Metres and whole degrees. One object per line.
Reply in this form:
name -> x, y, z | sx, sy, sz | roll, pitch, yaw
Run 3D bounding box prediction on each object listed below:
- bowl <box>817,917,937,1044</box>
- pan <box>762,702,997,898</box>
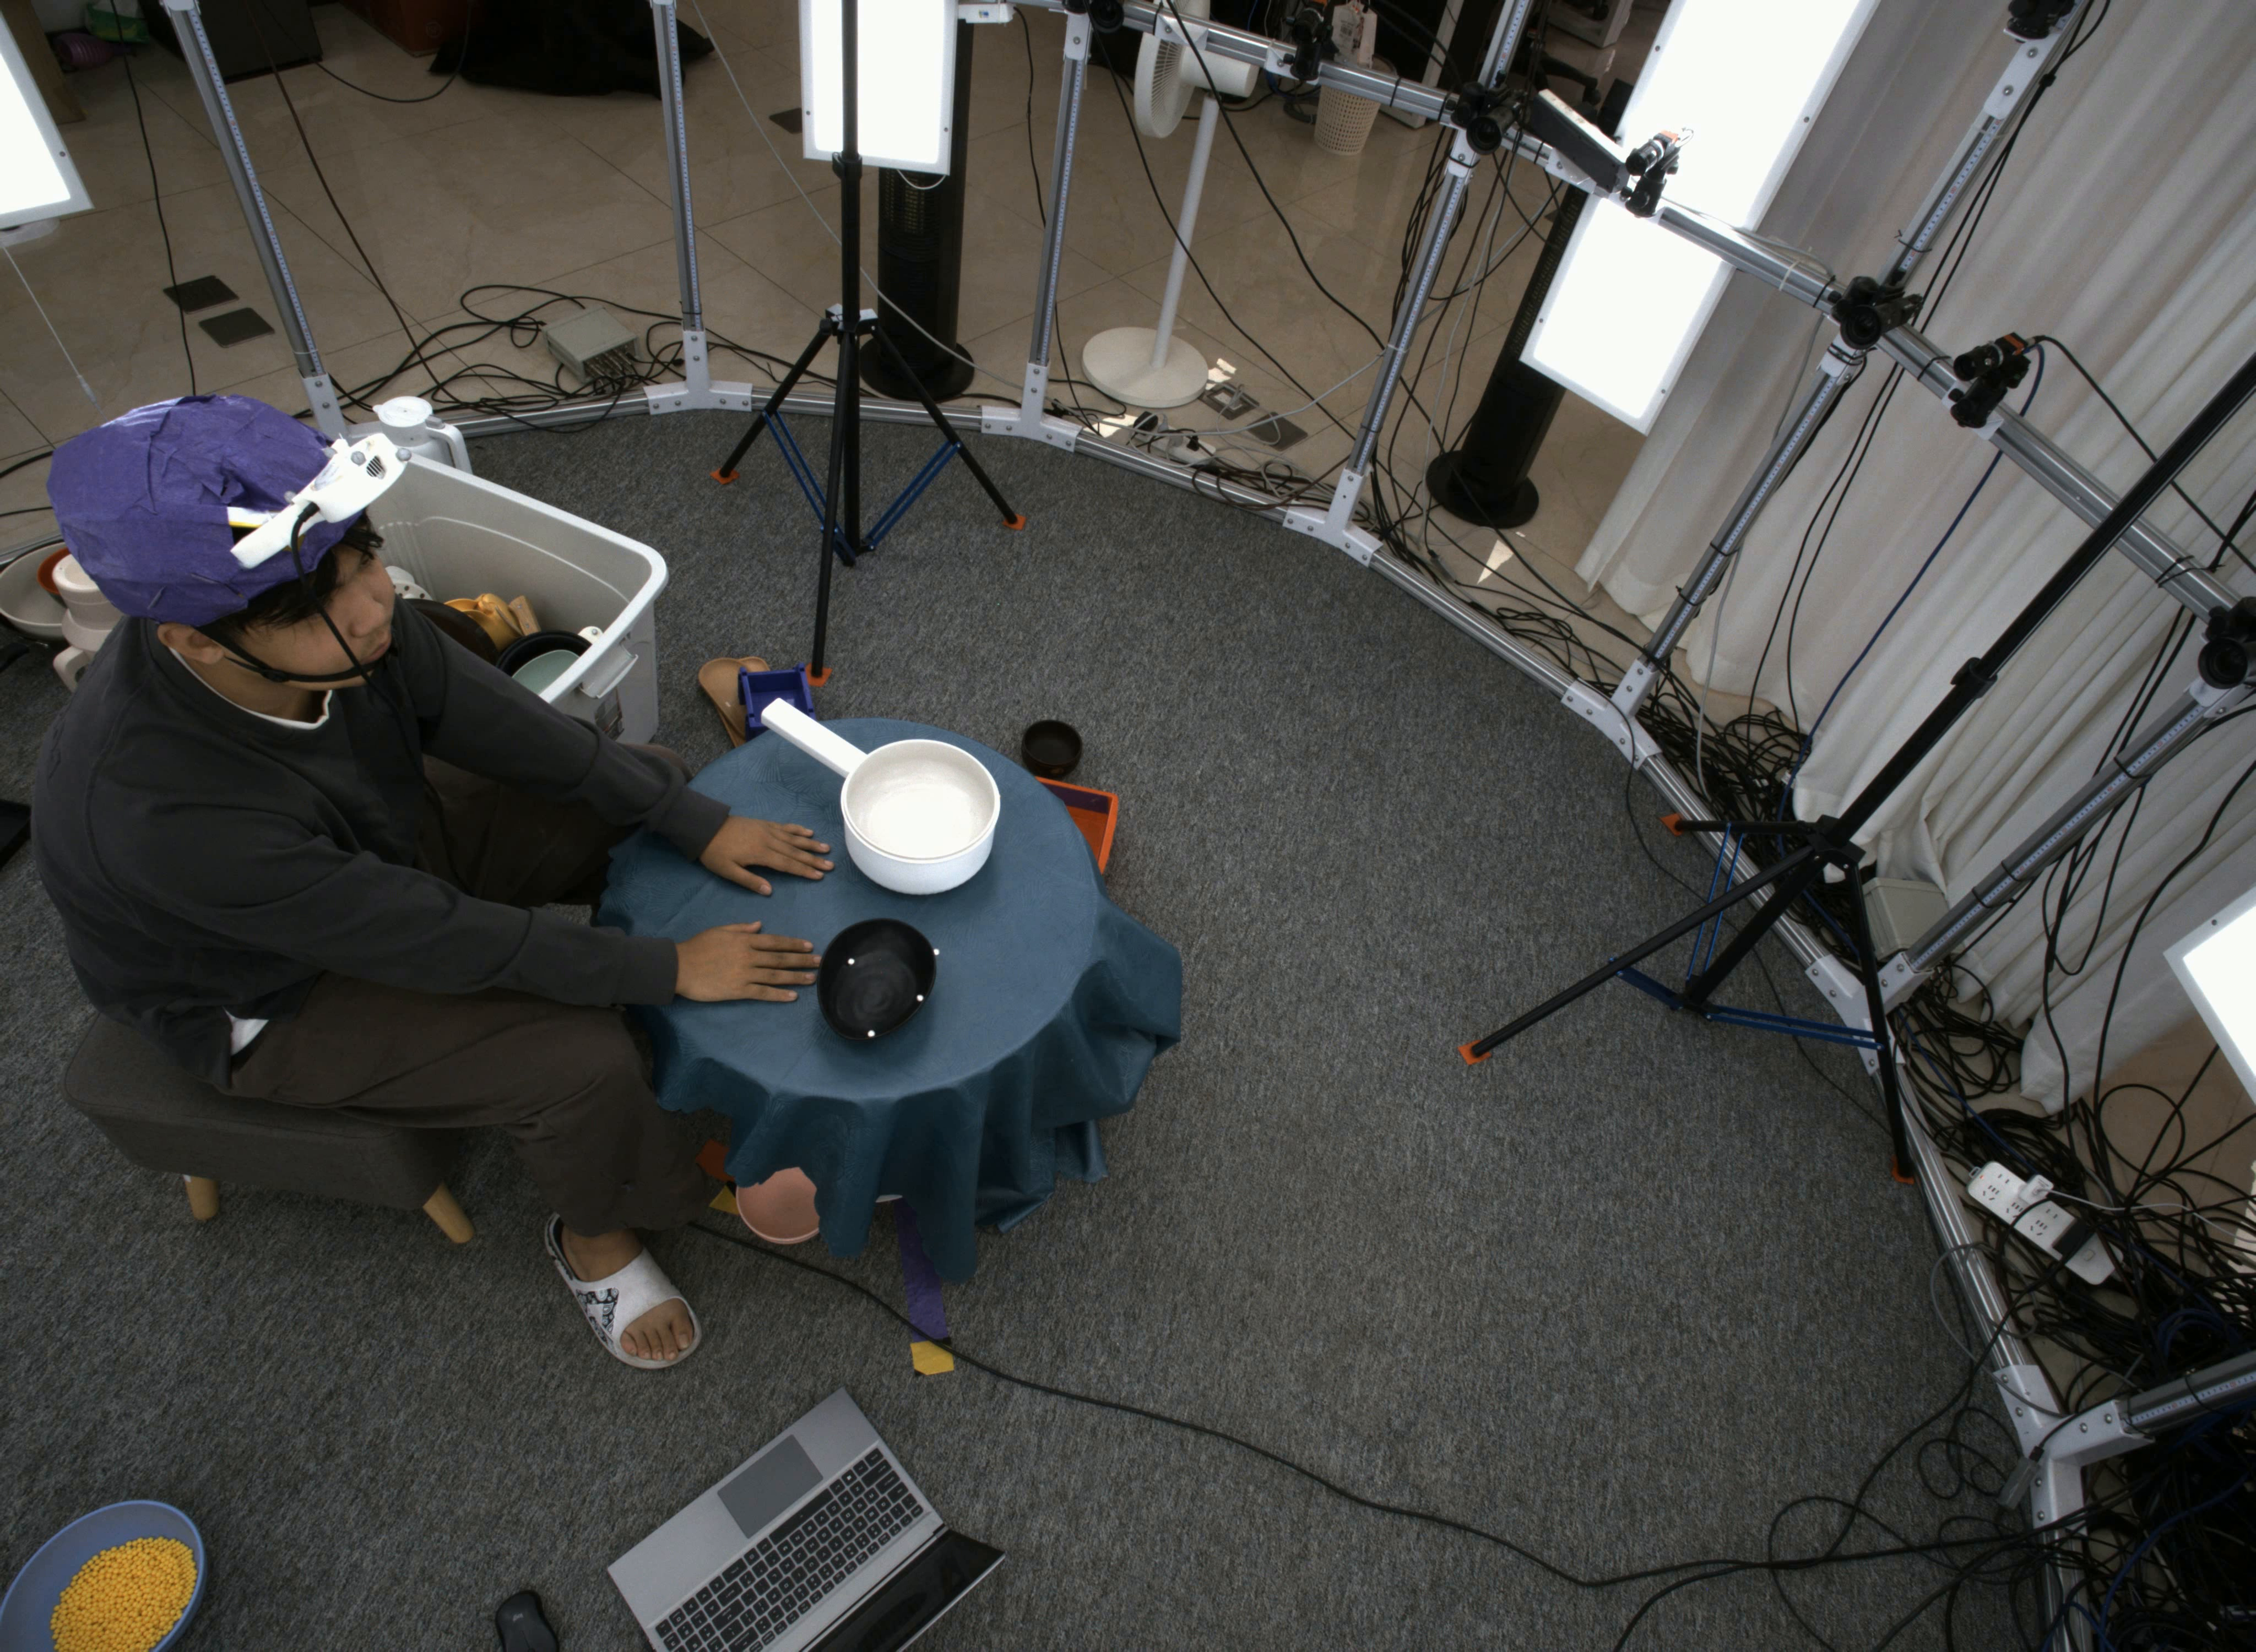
bowl -> -0.302, 0.193, 1.565 | 0.136, 0.068, 0.168 | 17, 53, 0
pan -> -0.335, -0.041, 1.720 | 0.348, 0.104, 0.201 | 30, 56, 12
